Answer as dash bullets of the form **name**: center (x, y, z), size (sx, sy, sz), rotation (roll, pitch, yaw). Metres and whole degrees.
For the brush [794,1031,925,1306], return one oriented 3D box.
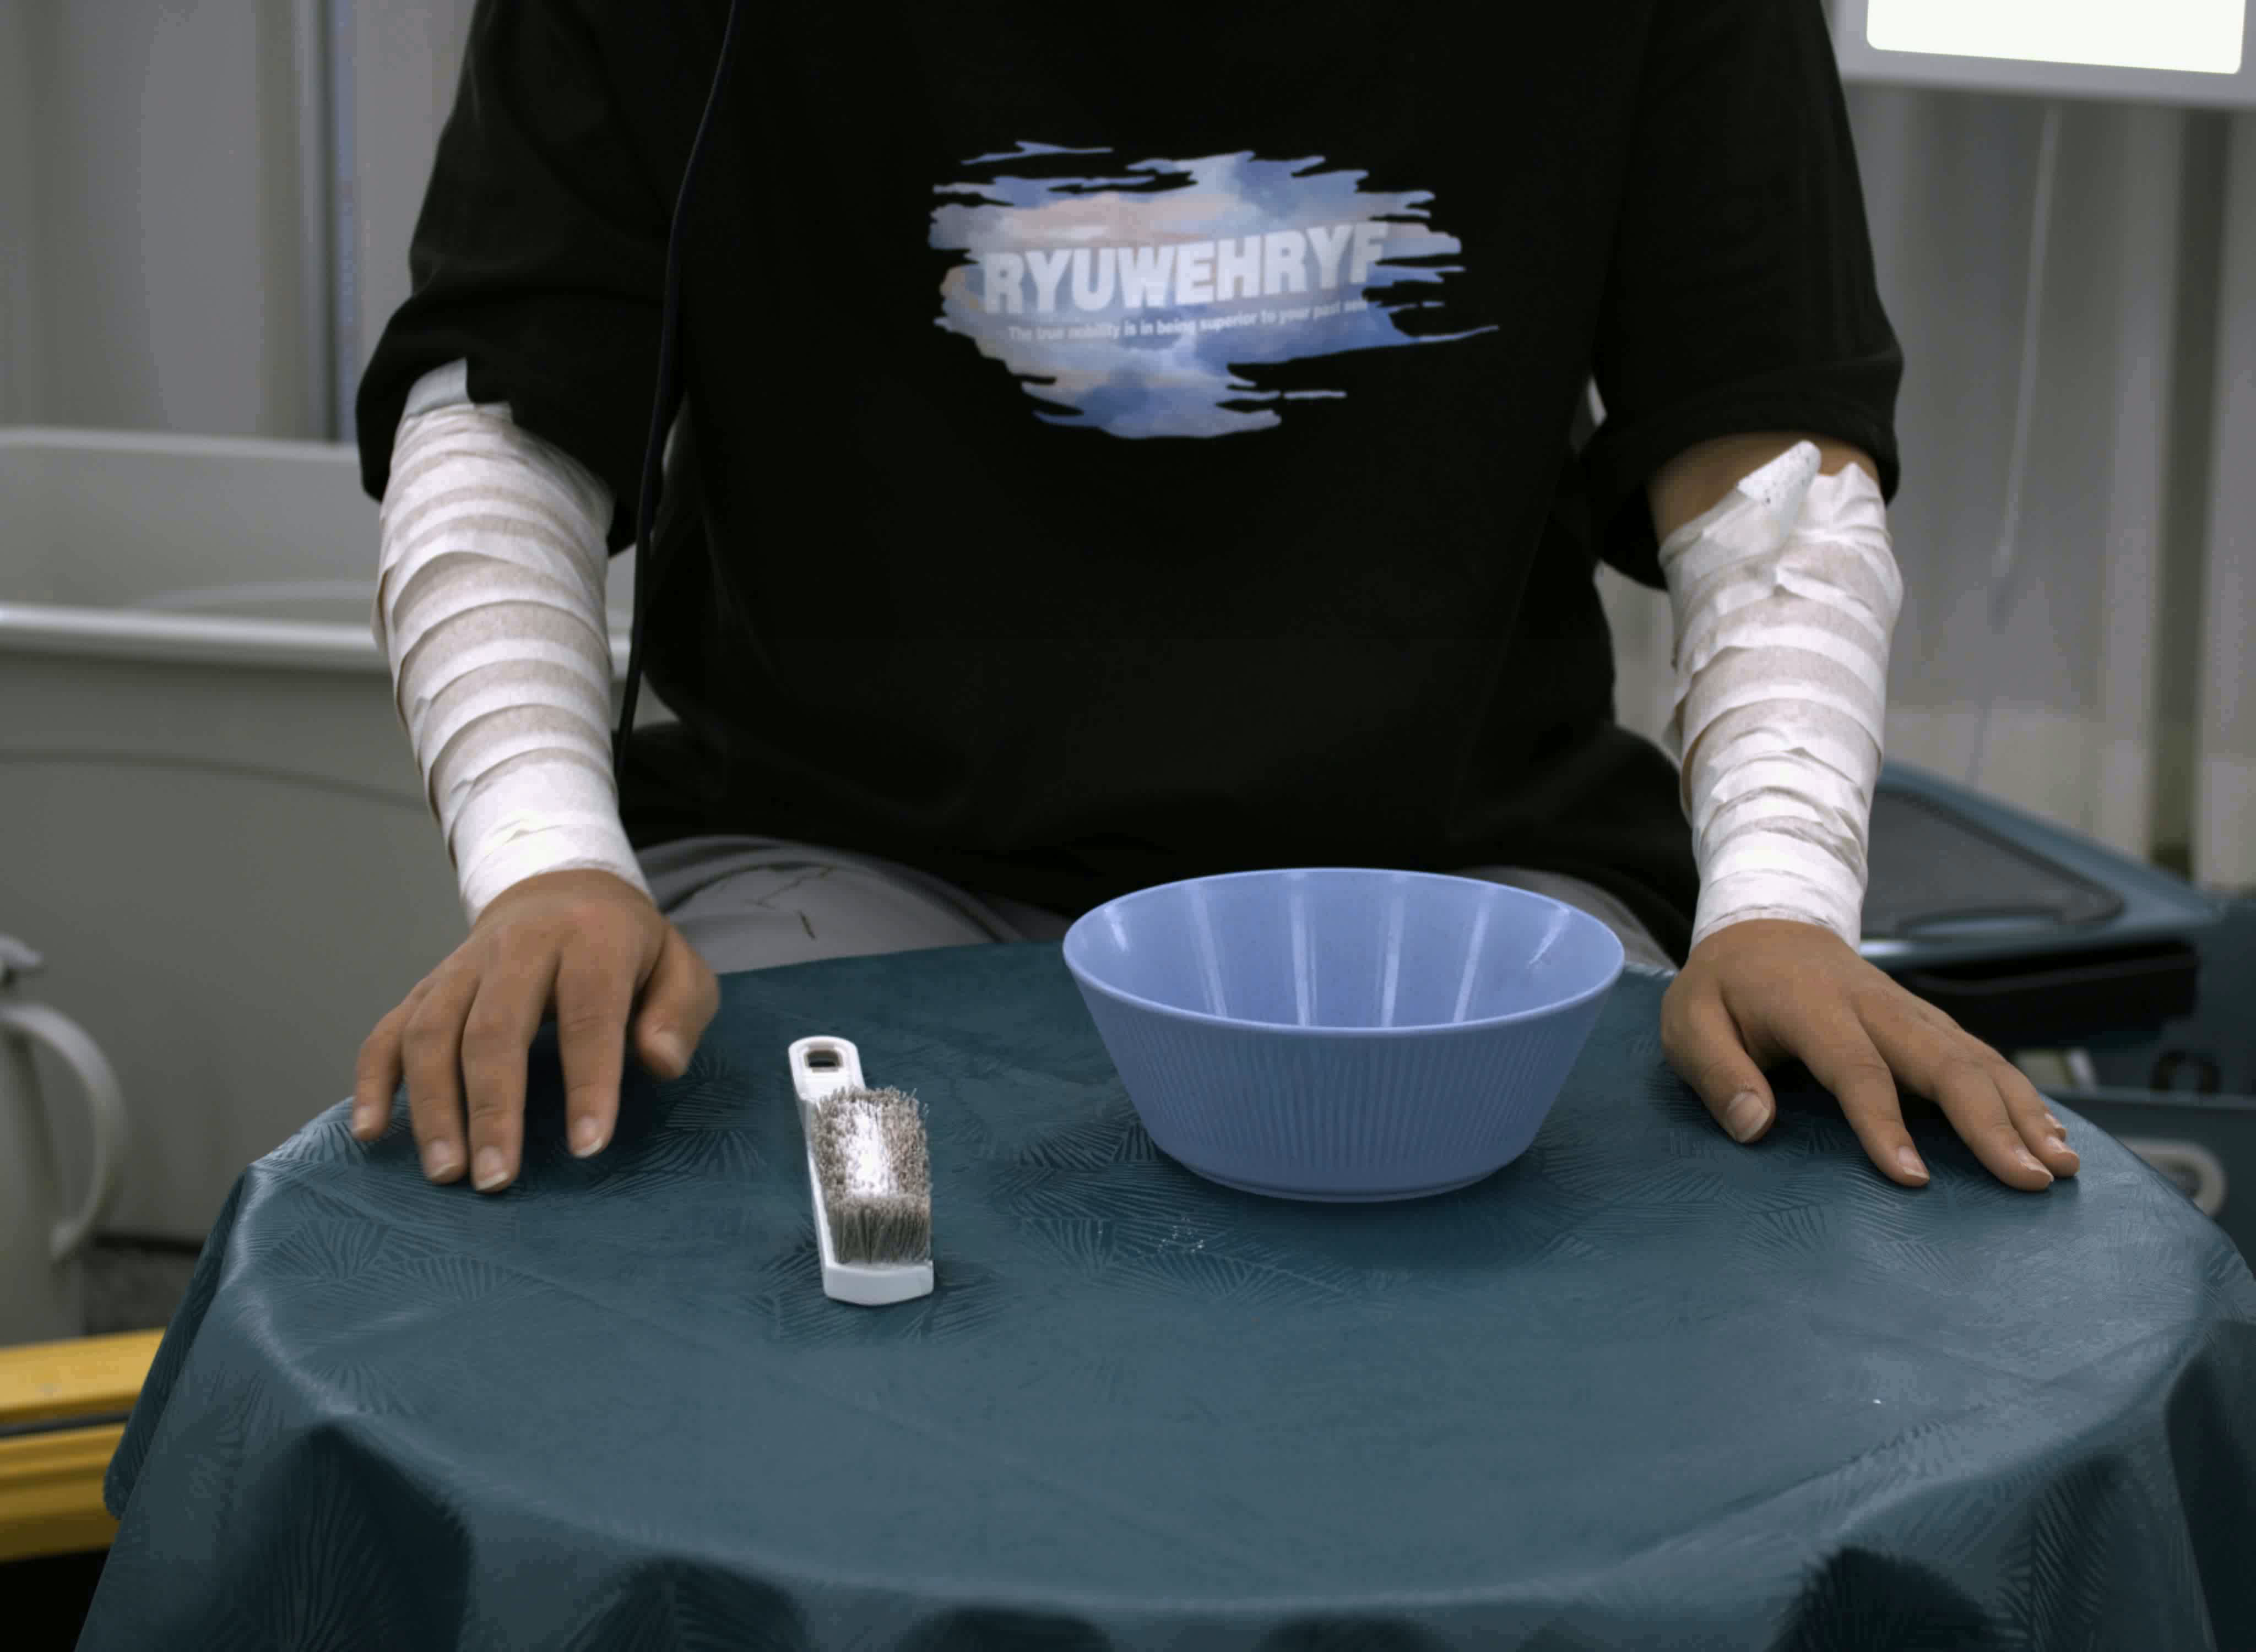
- **brush**: center (-0.086, 0.085, 1.623), size (0.034, 0.050, 0.242), rotation (0, 16, -6)

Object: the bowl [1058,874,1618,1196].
- **bowl**: center (0.065, 0.068, 1.656), size (0.175, 0.071, 0.175), rotation (1, 15, 0)
